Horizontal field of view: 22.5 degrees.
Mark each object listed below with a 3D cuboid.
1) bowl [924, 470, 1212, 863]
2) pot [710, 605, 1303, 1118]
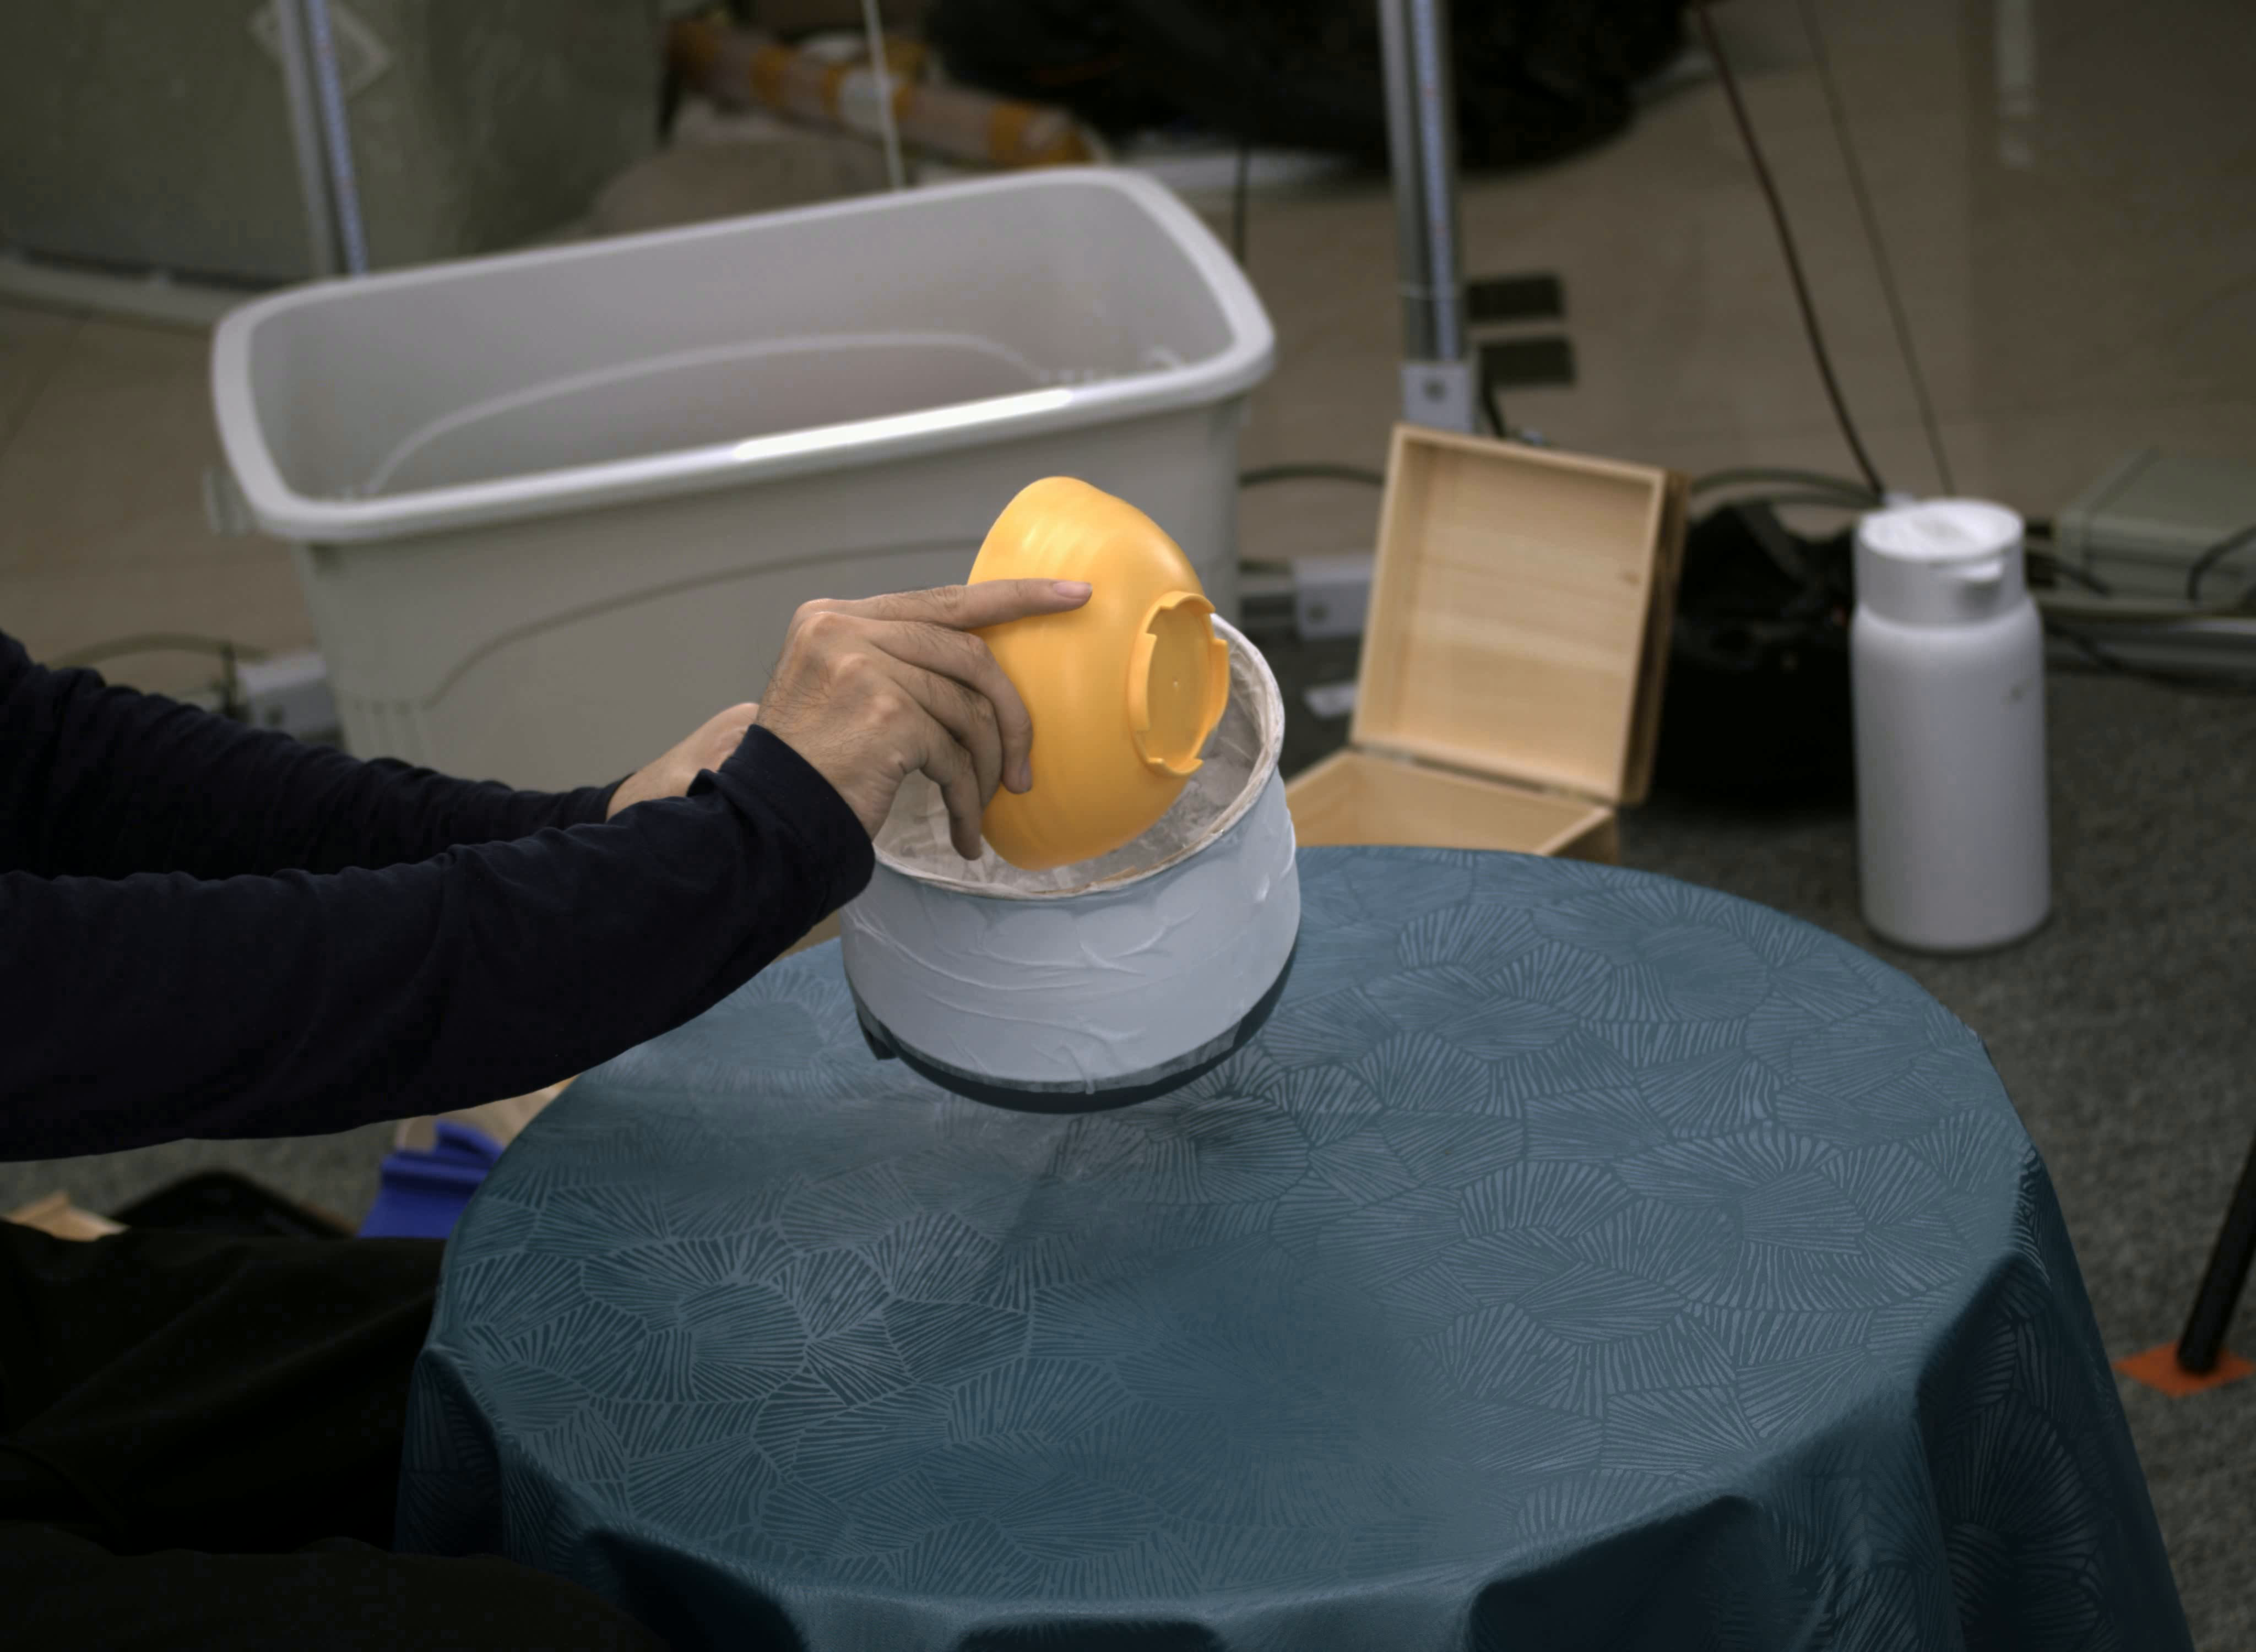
[{"bbox_3d":[-0.011,-0.053,2.045,0.060,0.148,0.143,13,31,28],"label":"bowl"},{"bbox_3d":[-0.051,0.011,2.158,0.233,0.139,0.175,3,45,13],"label":"pot"}]
